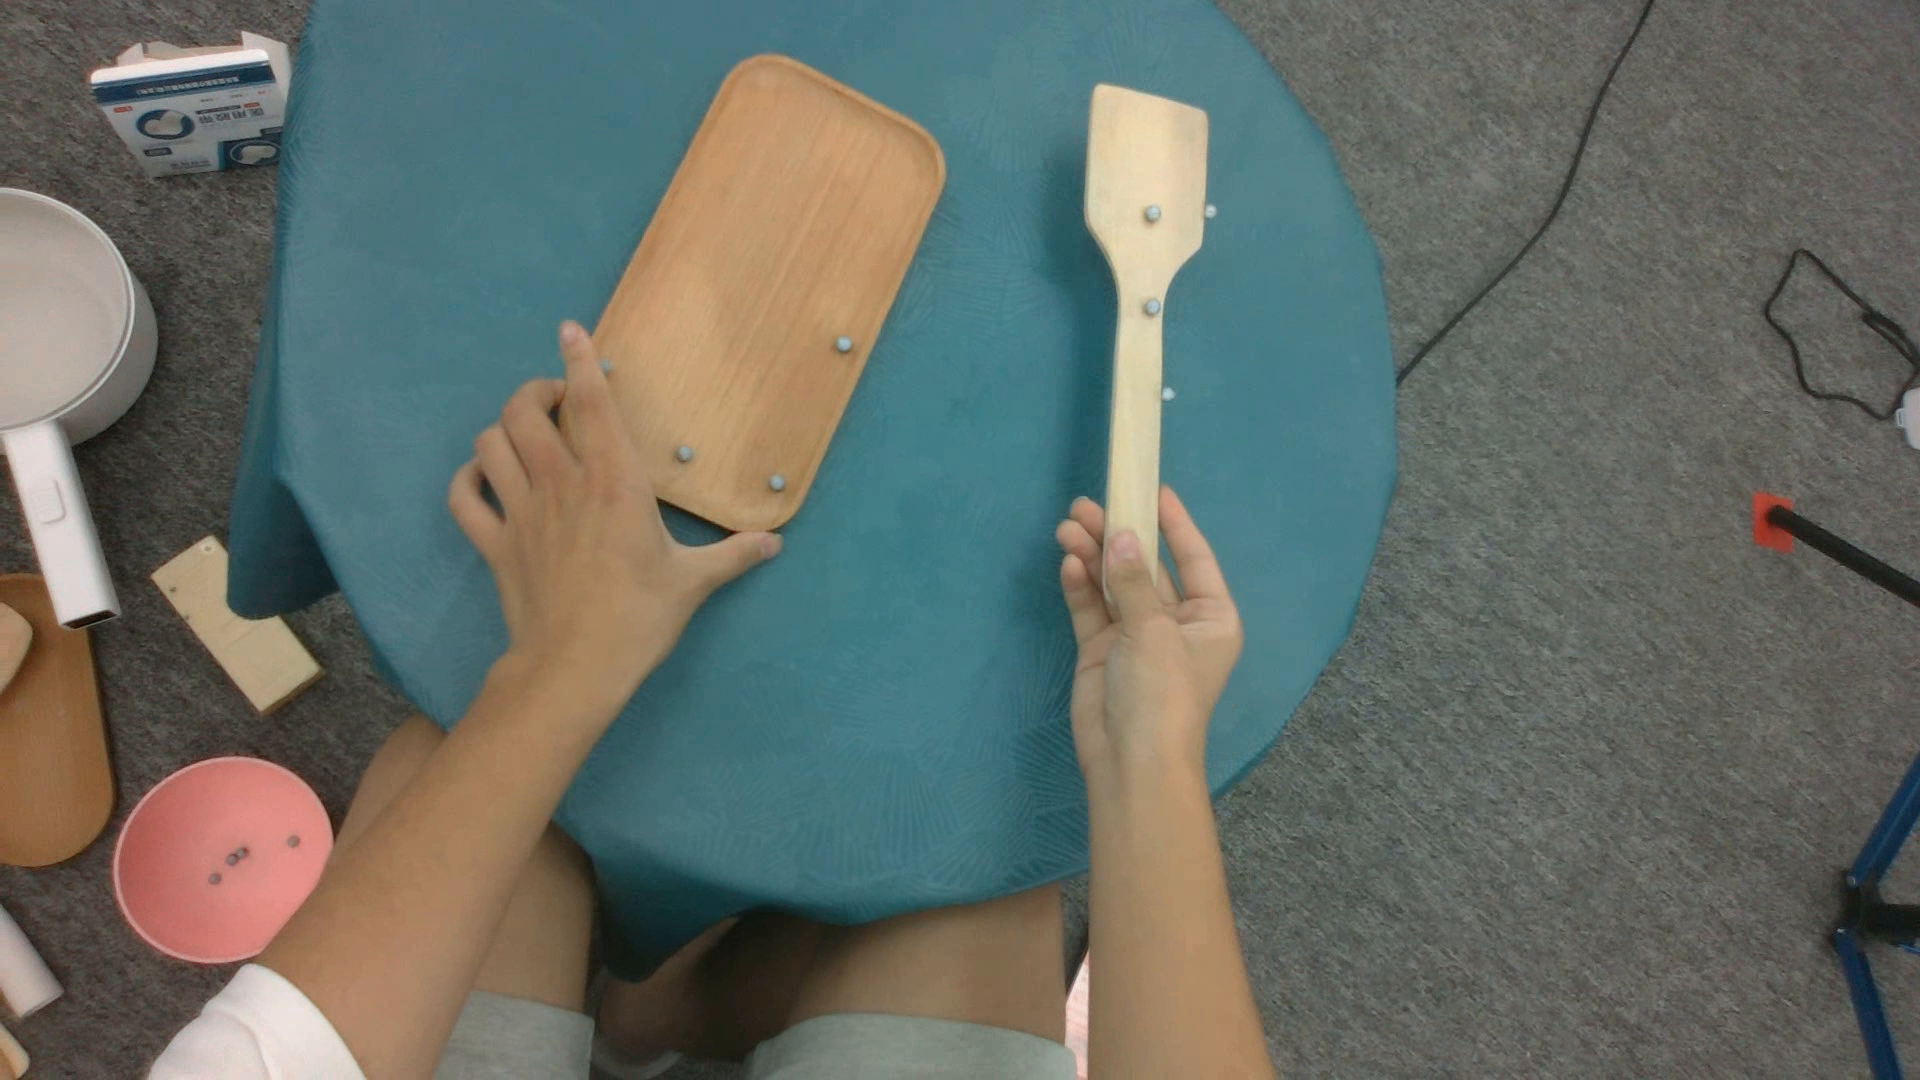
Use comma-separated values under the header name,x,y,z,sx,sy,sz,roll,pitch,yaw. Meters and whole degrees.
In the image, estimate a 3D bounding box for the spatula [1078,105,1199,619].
name,x,y,z,sx,sy,sz,roll,pitch,yaw
spatula,0.095,-0.100,0.738,0.072,0.010,0.294,9,72,-16

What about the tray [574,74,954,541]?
name,x,y,z,sx,sy,sz,roll,pitch,yaw
tray,-0.100,-0.127,0.731,0.130,0.023,0.251,26,72,-9
